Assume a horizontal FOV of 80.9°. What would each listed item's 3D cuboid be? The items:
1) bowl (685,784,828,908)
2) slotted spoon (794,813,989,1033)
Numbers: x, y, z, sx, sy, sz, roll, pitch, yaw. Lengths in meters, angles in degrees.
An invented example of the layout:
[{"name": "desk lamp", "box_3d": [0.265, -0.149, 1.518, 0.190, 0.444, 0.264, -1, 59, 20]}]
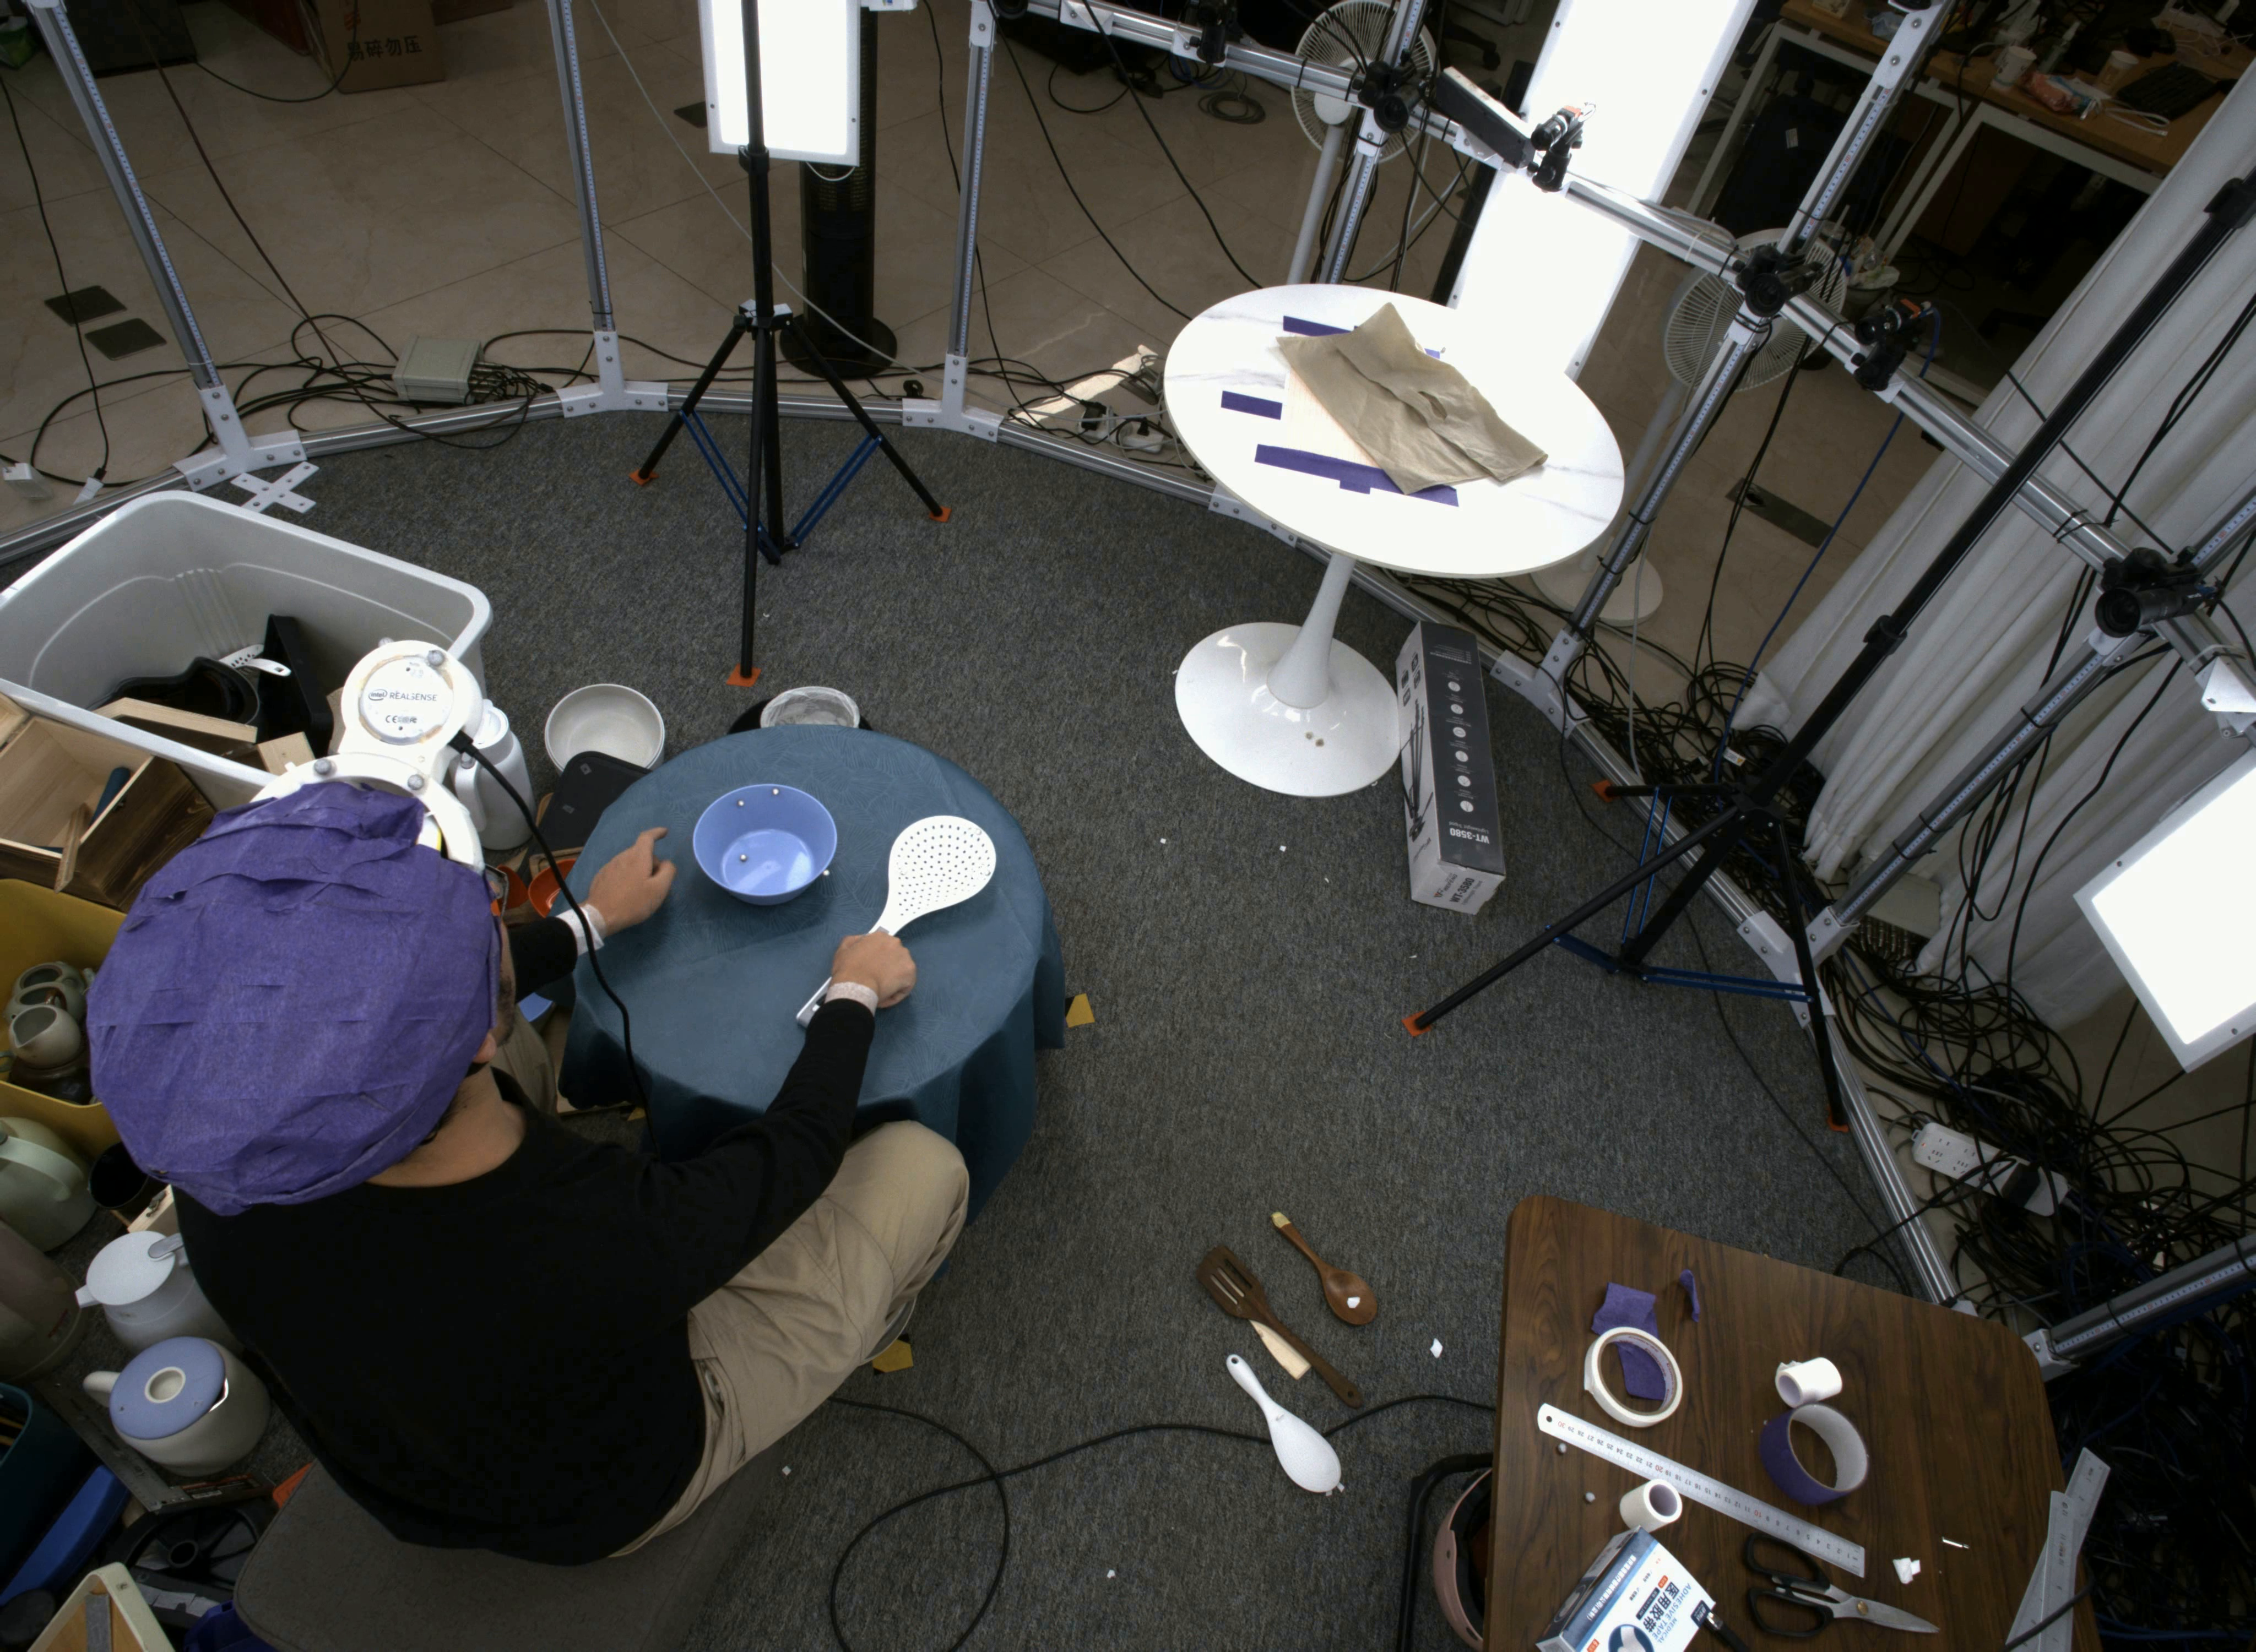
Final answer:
[{"name": "bowl", "box_3d": [-0.467, 0.035, 1.636, 0.176, 0.071, 0.173, 8, 53, -9]}, {"name": "slotted spoon", "box_3d": [-0.301, 0.118, 1.633, 0.134, 0.046, 0.348, 30, 53, 10]}]
